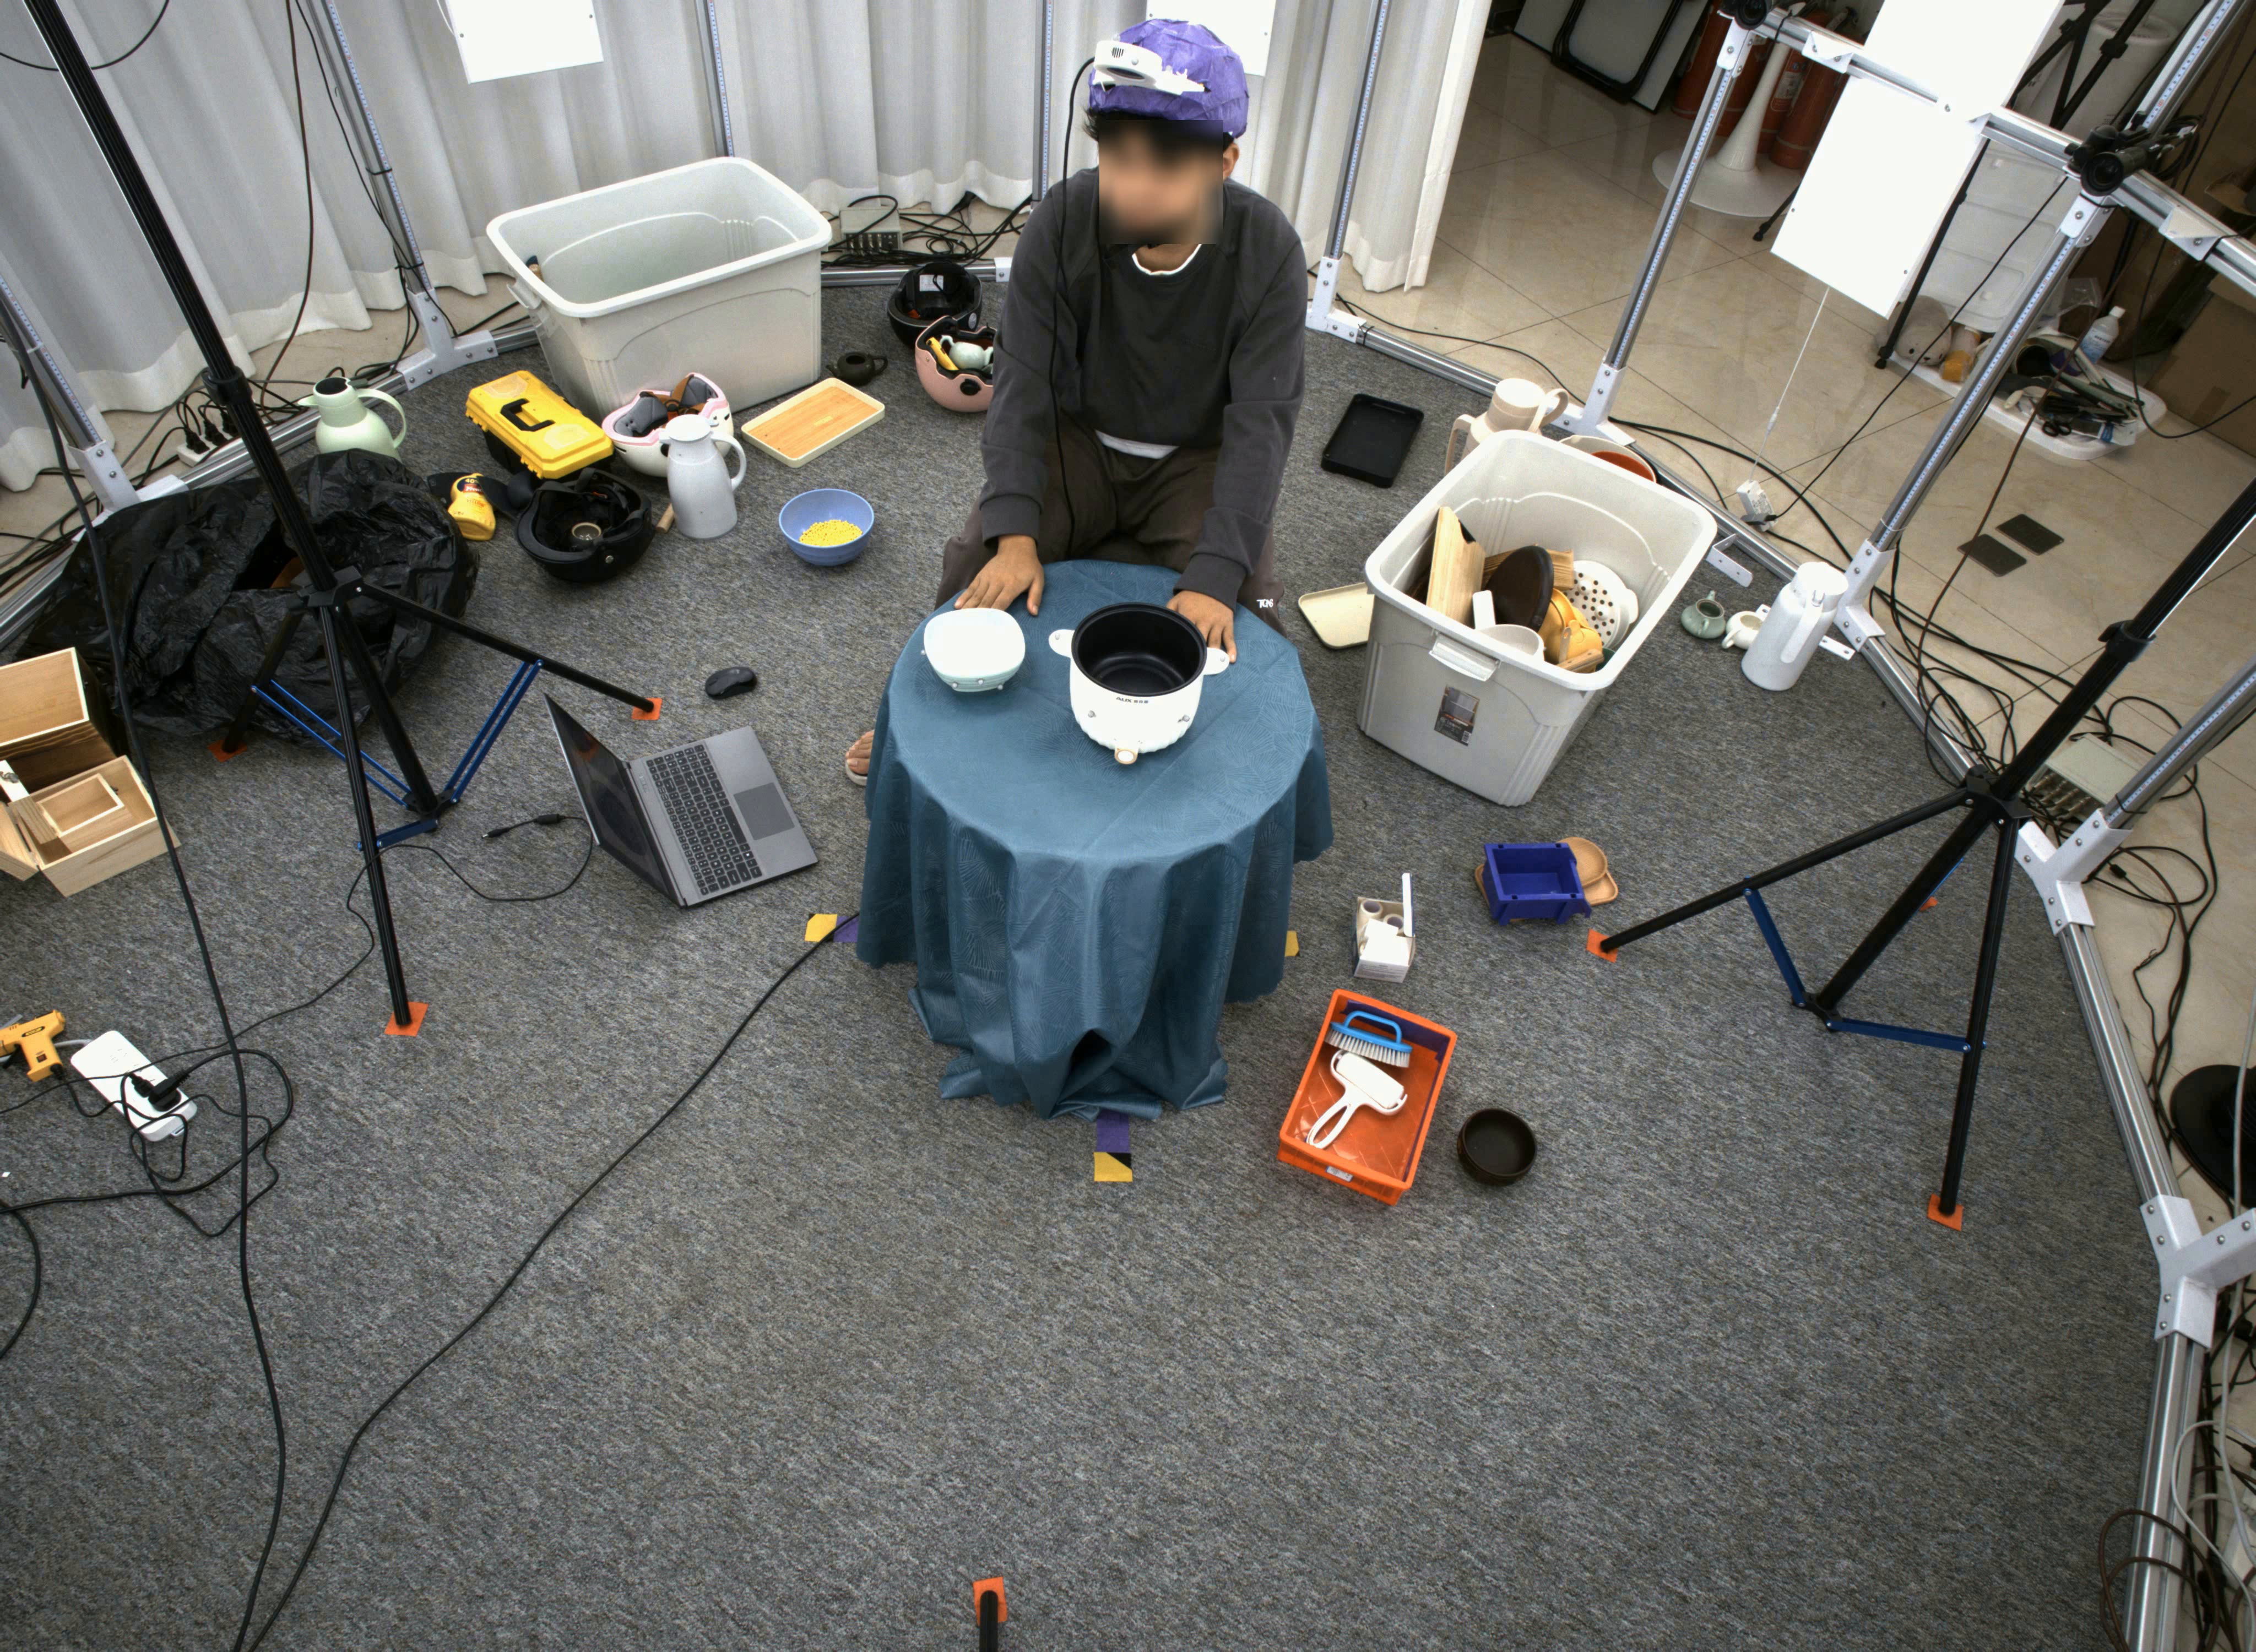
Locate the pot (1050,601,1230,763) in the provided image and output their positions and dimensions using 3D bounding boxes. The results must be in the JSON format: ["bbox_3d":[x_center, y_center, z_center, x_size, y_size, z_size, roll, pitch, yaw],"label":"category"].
[{"bbox_3d":[0.014,-0.192,1.742,0.240,0.139,0.195,5,46,2],"label":"pot"}]

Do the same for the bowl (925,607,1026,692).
[{"bbox_3d":[-0.215,-0.242,1.822,0.151,0.057,0.155,2,51,-3],"label":"bowl"}]
